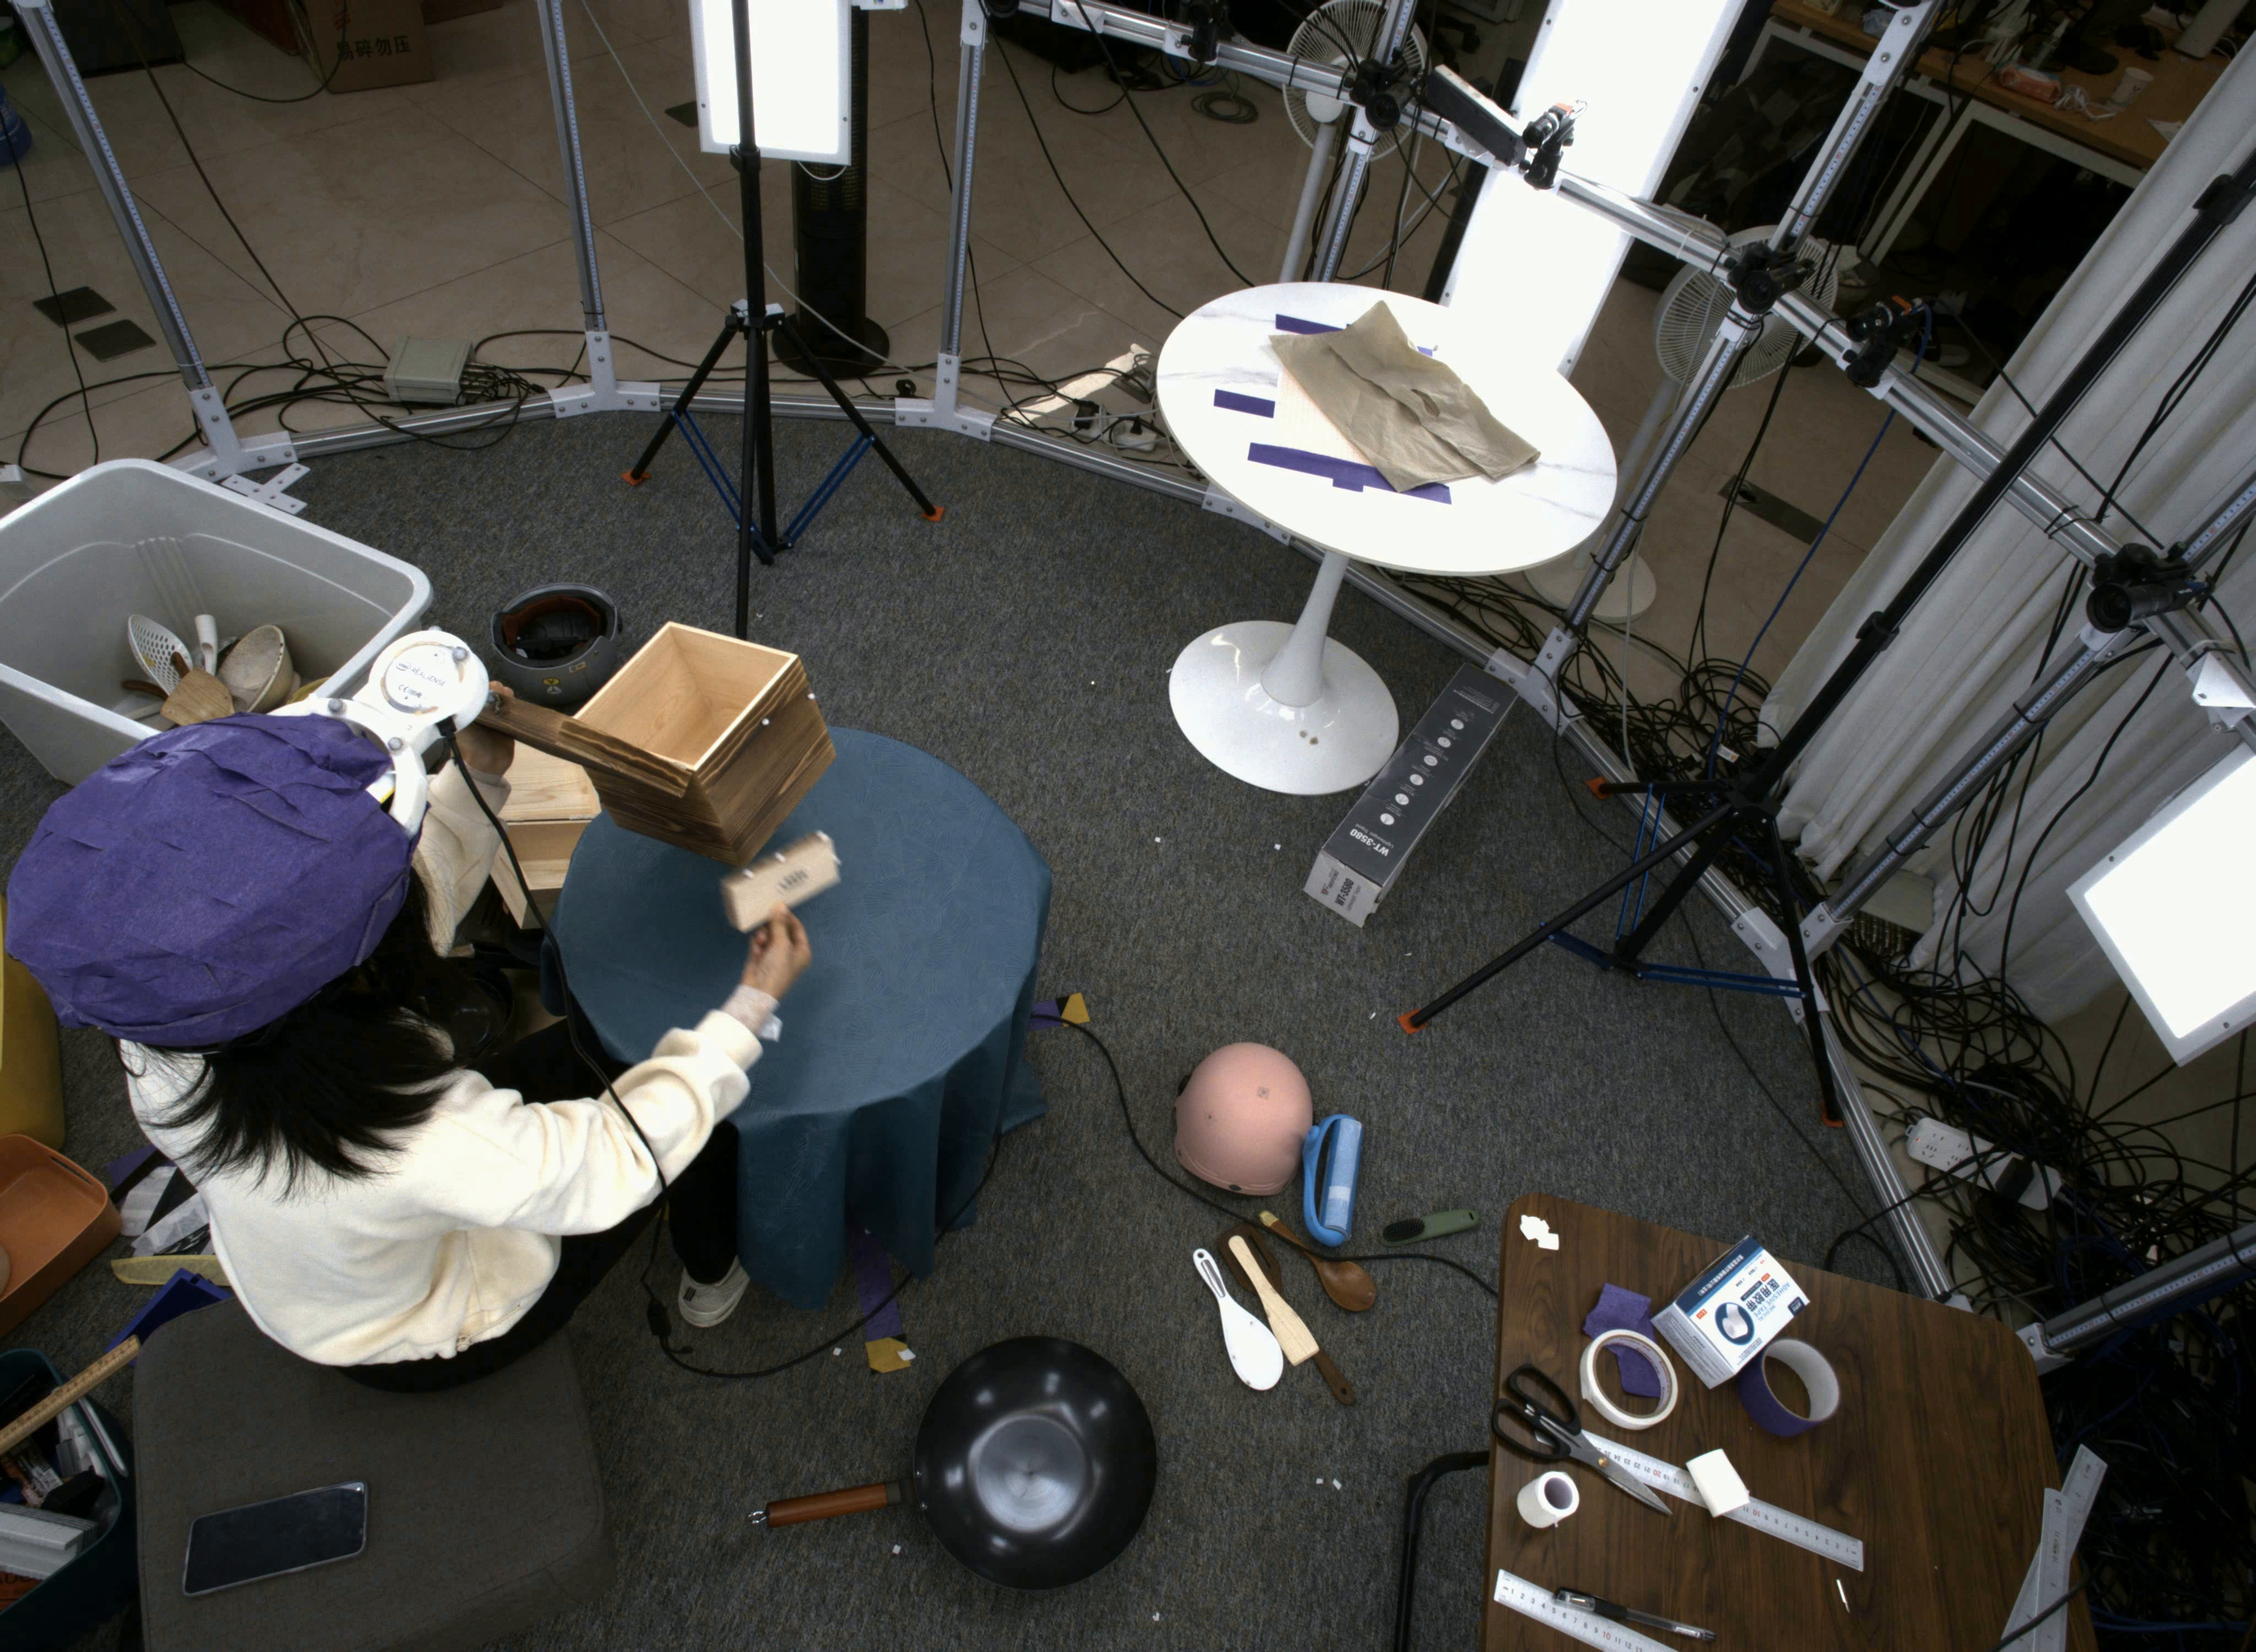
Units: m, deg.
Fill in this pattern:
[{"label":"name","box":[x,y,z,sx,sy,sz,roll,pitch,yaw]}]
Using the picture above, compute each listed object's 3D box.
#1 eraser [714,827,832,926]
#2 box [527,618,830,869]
[{"label":"eraser","box":[-0.396,0.053,1.446,0.028,0.059,0.140,18,34,34]},{"label":"box","box":[-0.537,-0.134,1.425,0.203,0.388,0.320,15,52,20]}]
